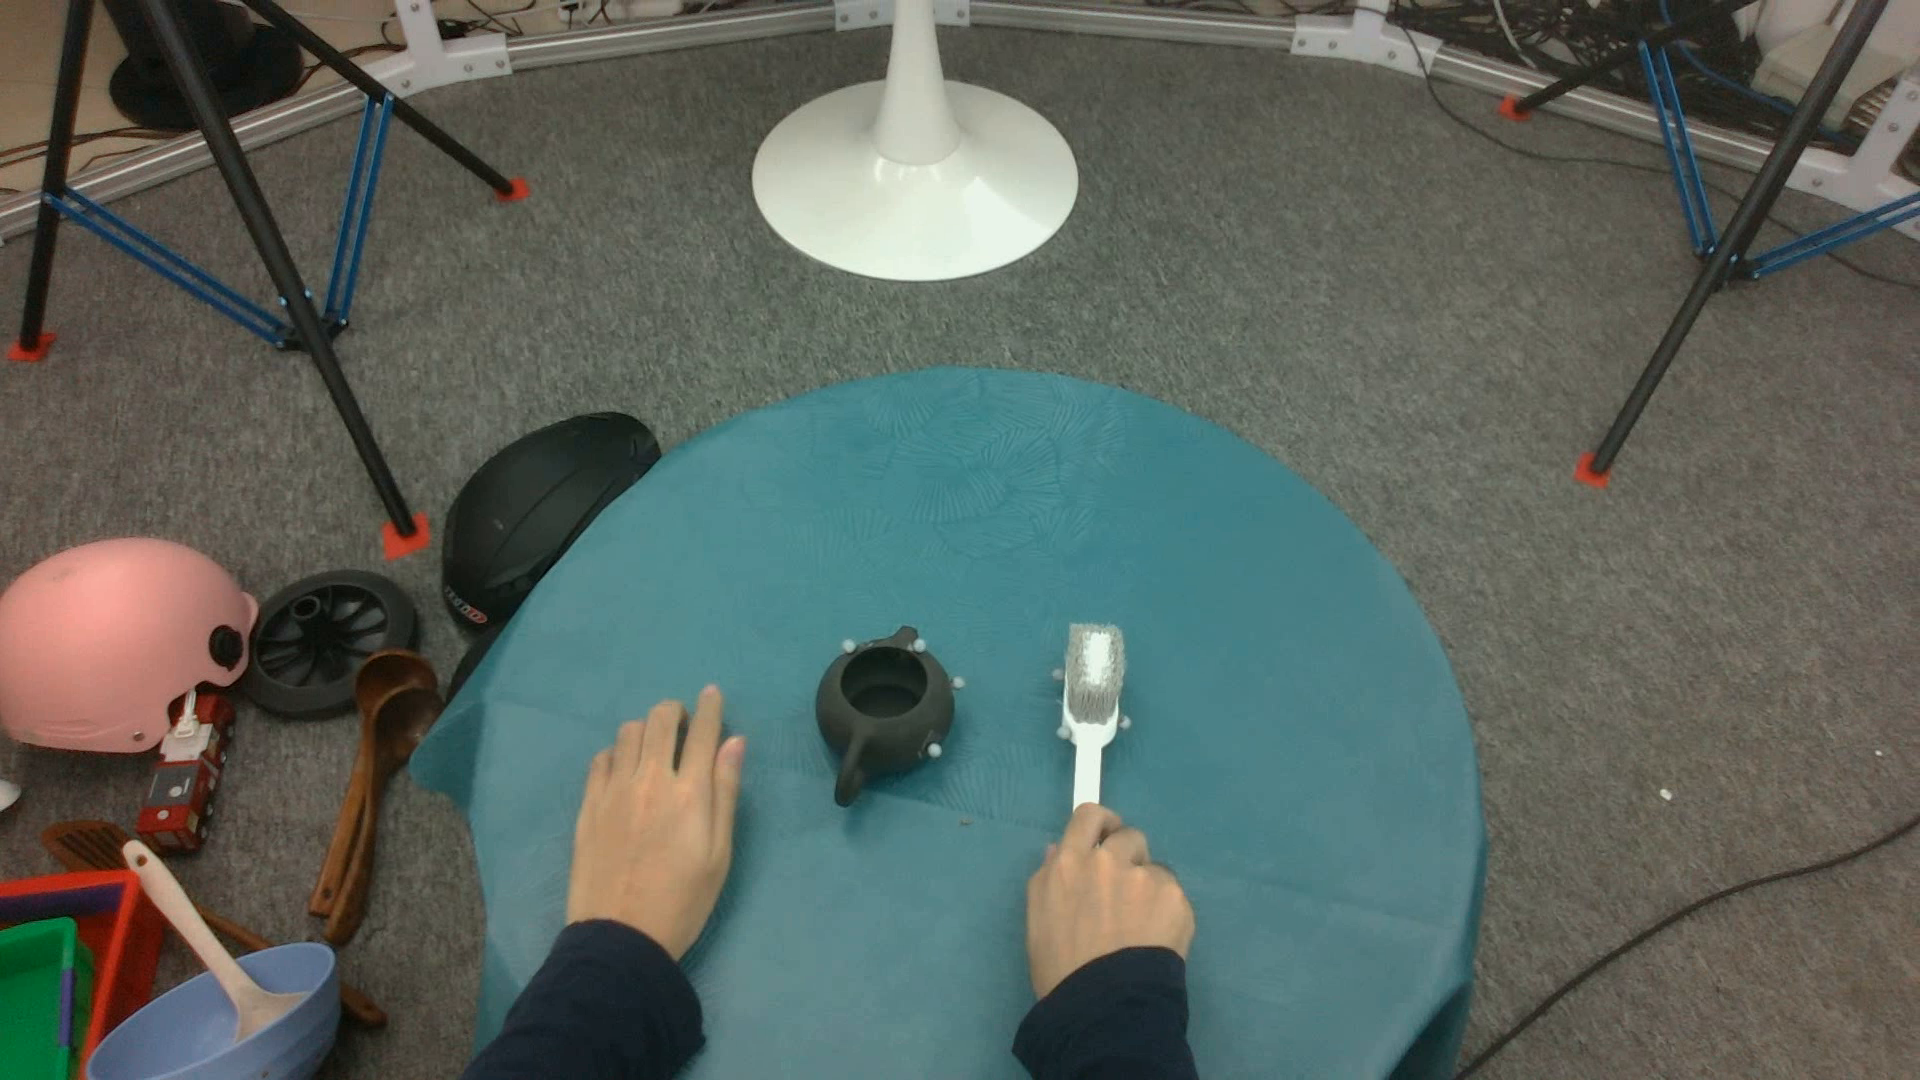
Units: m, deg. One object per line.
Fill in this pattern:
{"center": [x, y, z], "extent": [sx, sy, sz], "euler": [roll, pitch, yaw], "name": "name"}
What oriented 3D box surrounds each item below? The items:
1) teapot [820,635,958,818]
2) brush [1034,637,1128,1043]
{"center": [-0.047, 0.113, 0.817], "extent": [0.083, 0.053, 0.114], "euler": [16, 51, 11], "name": "teapot"}
{"center": [0.069, 0.159, 0.784], "extent": [0.034, 0.050, 0.245], "euler": [10, 50, 2], "name": "brush"}
